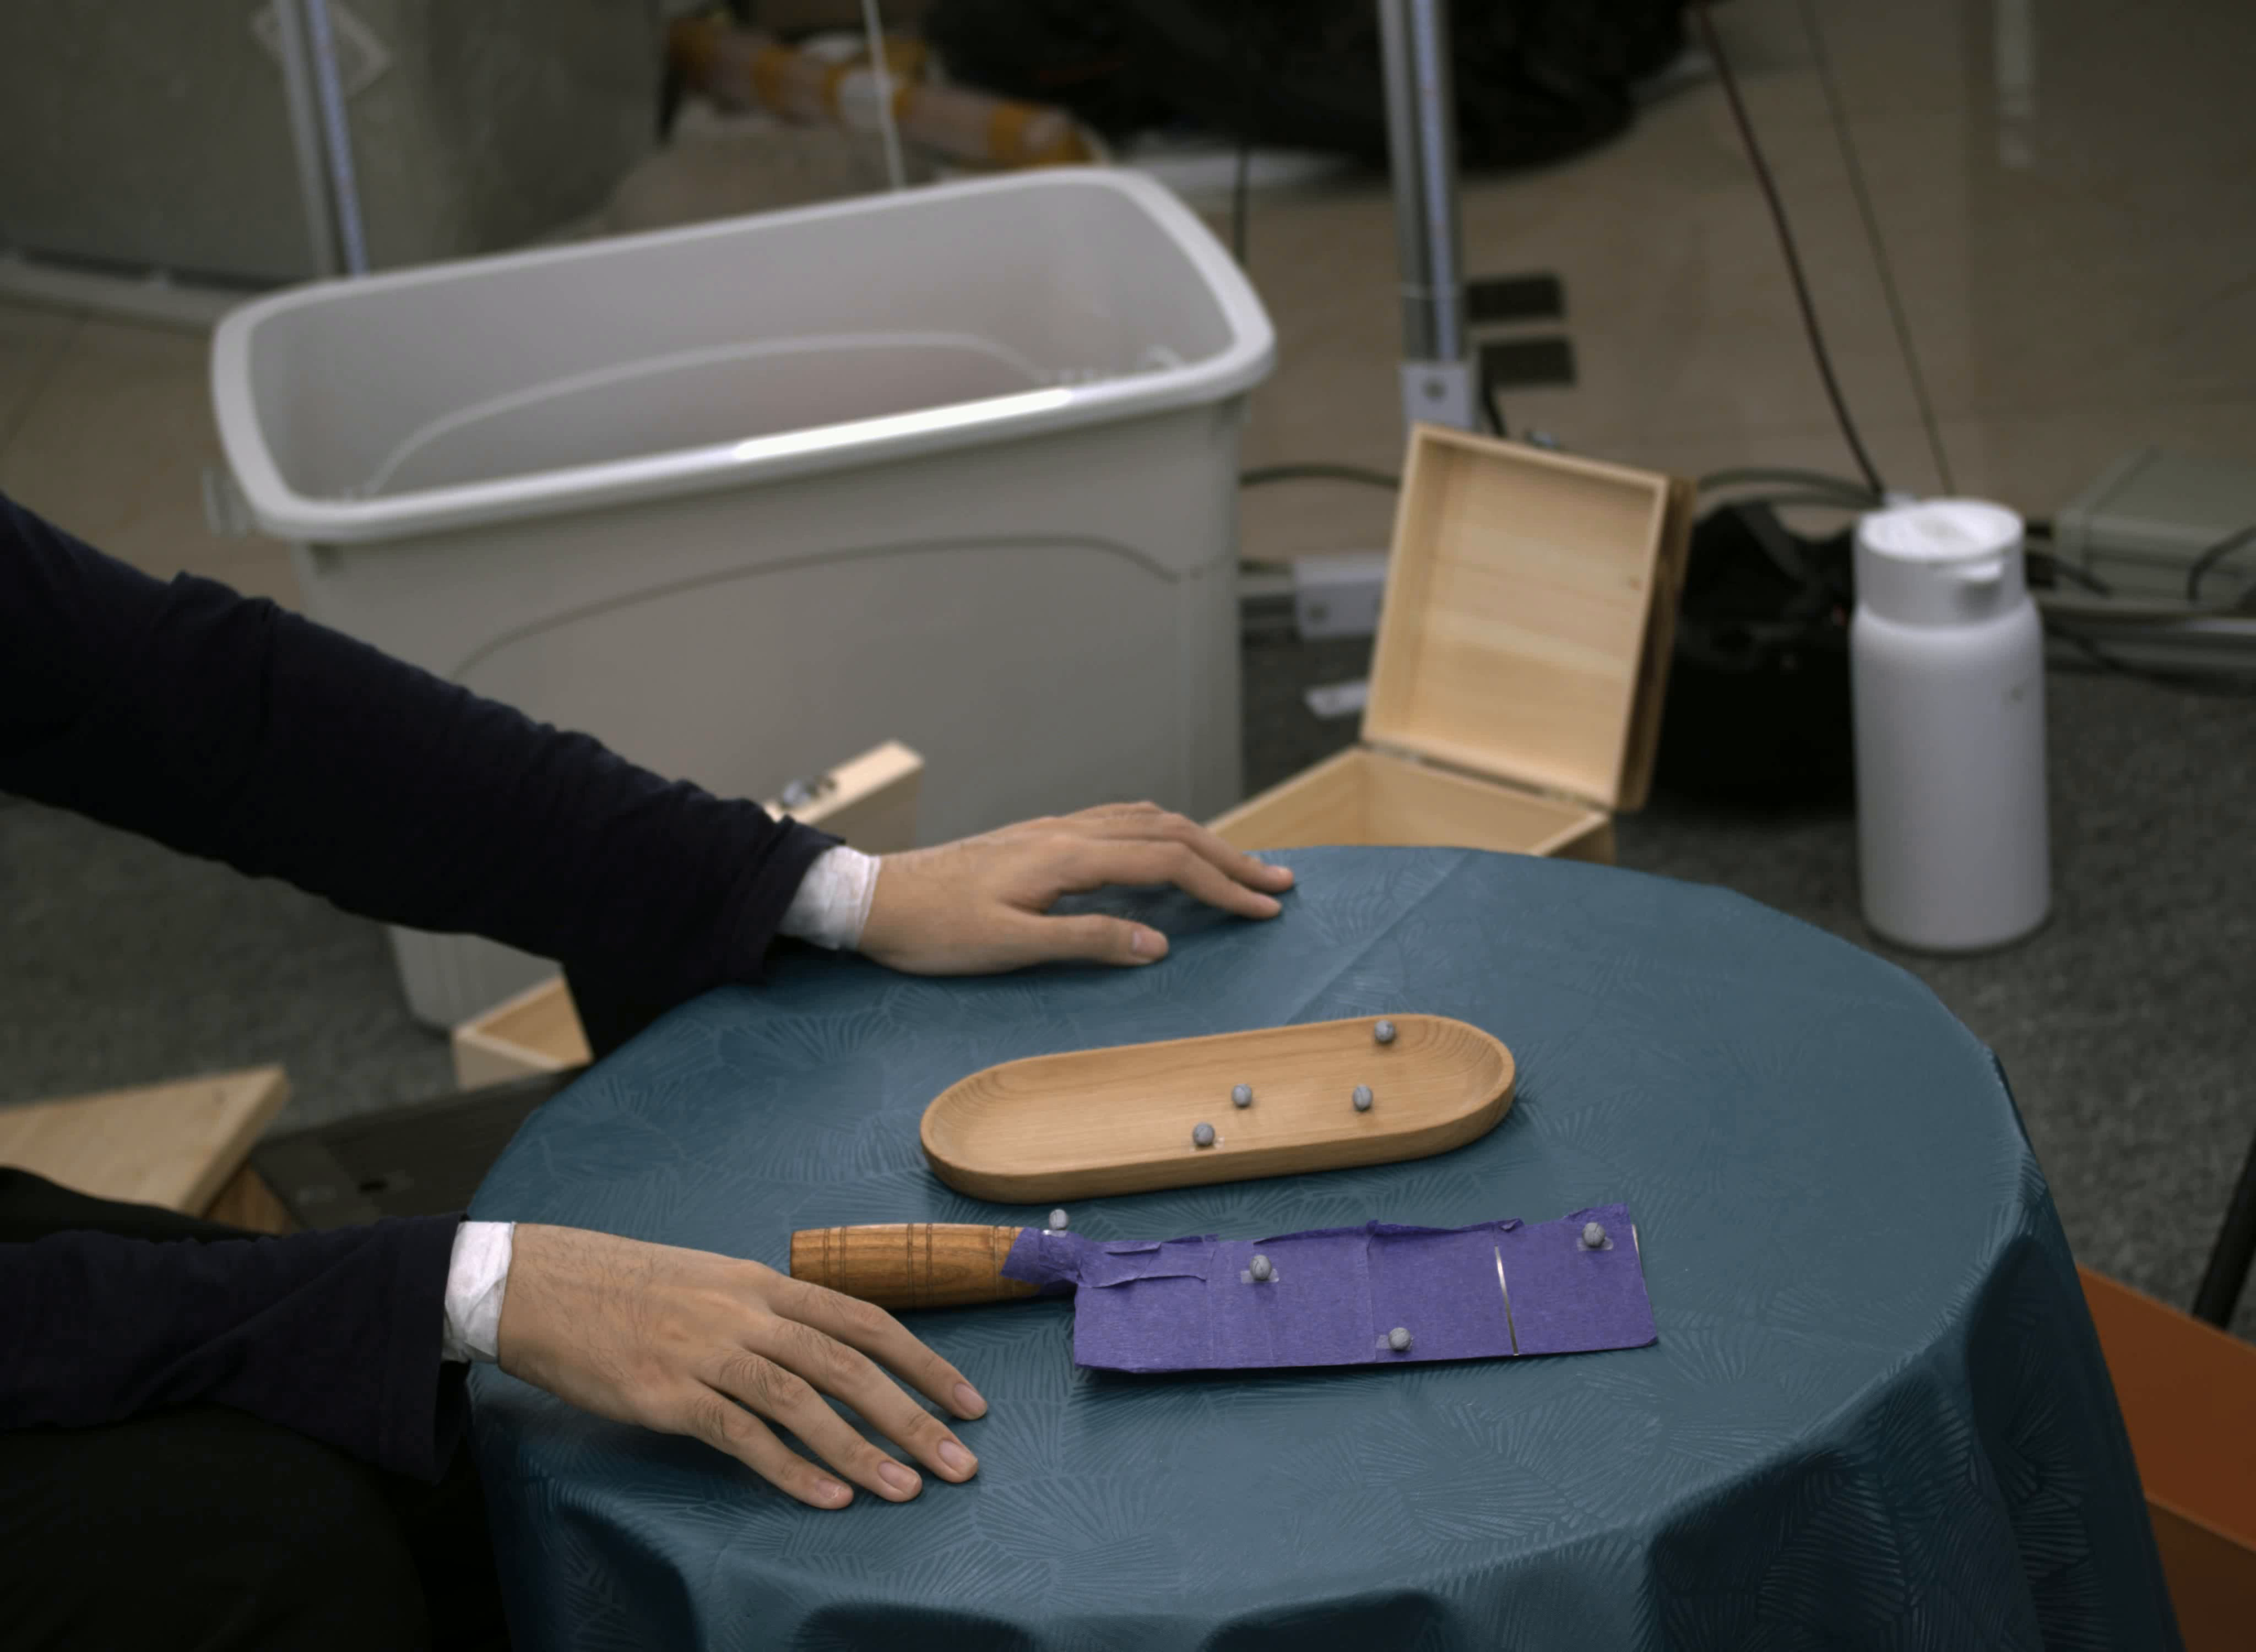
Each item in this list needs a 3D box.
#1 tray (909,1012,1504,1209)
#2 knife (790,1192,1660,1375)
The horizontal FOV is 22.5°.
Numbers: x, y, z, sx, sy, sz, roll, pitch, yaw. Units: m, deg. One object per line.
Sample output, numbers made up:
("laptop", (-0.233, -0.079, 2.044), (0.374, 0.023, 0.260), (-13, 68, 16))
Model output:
("tray", (0.031, 0.110, 2.187), (0.231, 0.020, 0.100), (-9, 24, 0))
("knife", (0.033, 0.167, 2.050), (0.315, 0.033, 0.102), (-5, 25, 2))
